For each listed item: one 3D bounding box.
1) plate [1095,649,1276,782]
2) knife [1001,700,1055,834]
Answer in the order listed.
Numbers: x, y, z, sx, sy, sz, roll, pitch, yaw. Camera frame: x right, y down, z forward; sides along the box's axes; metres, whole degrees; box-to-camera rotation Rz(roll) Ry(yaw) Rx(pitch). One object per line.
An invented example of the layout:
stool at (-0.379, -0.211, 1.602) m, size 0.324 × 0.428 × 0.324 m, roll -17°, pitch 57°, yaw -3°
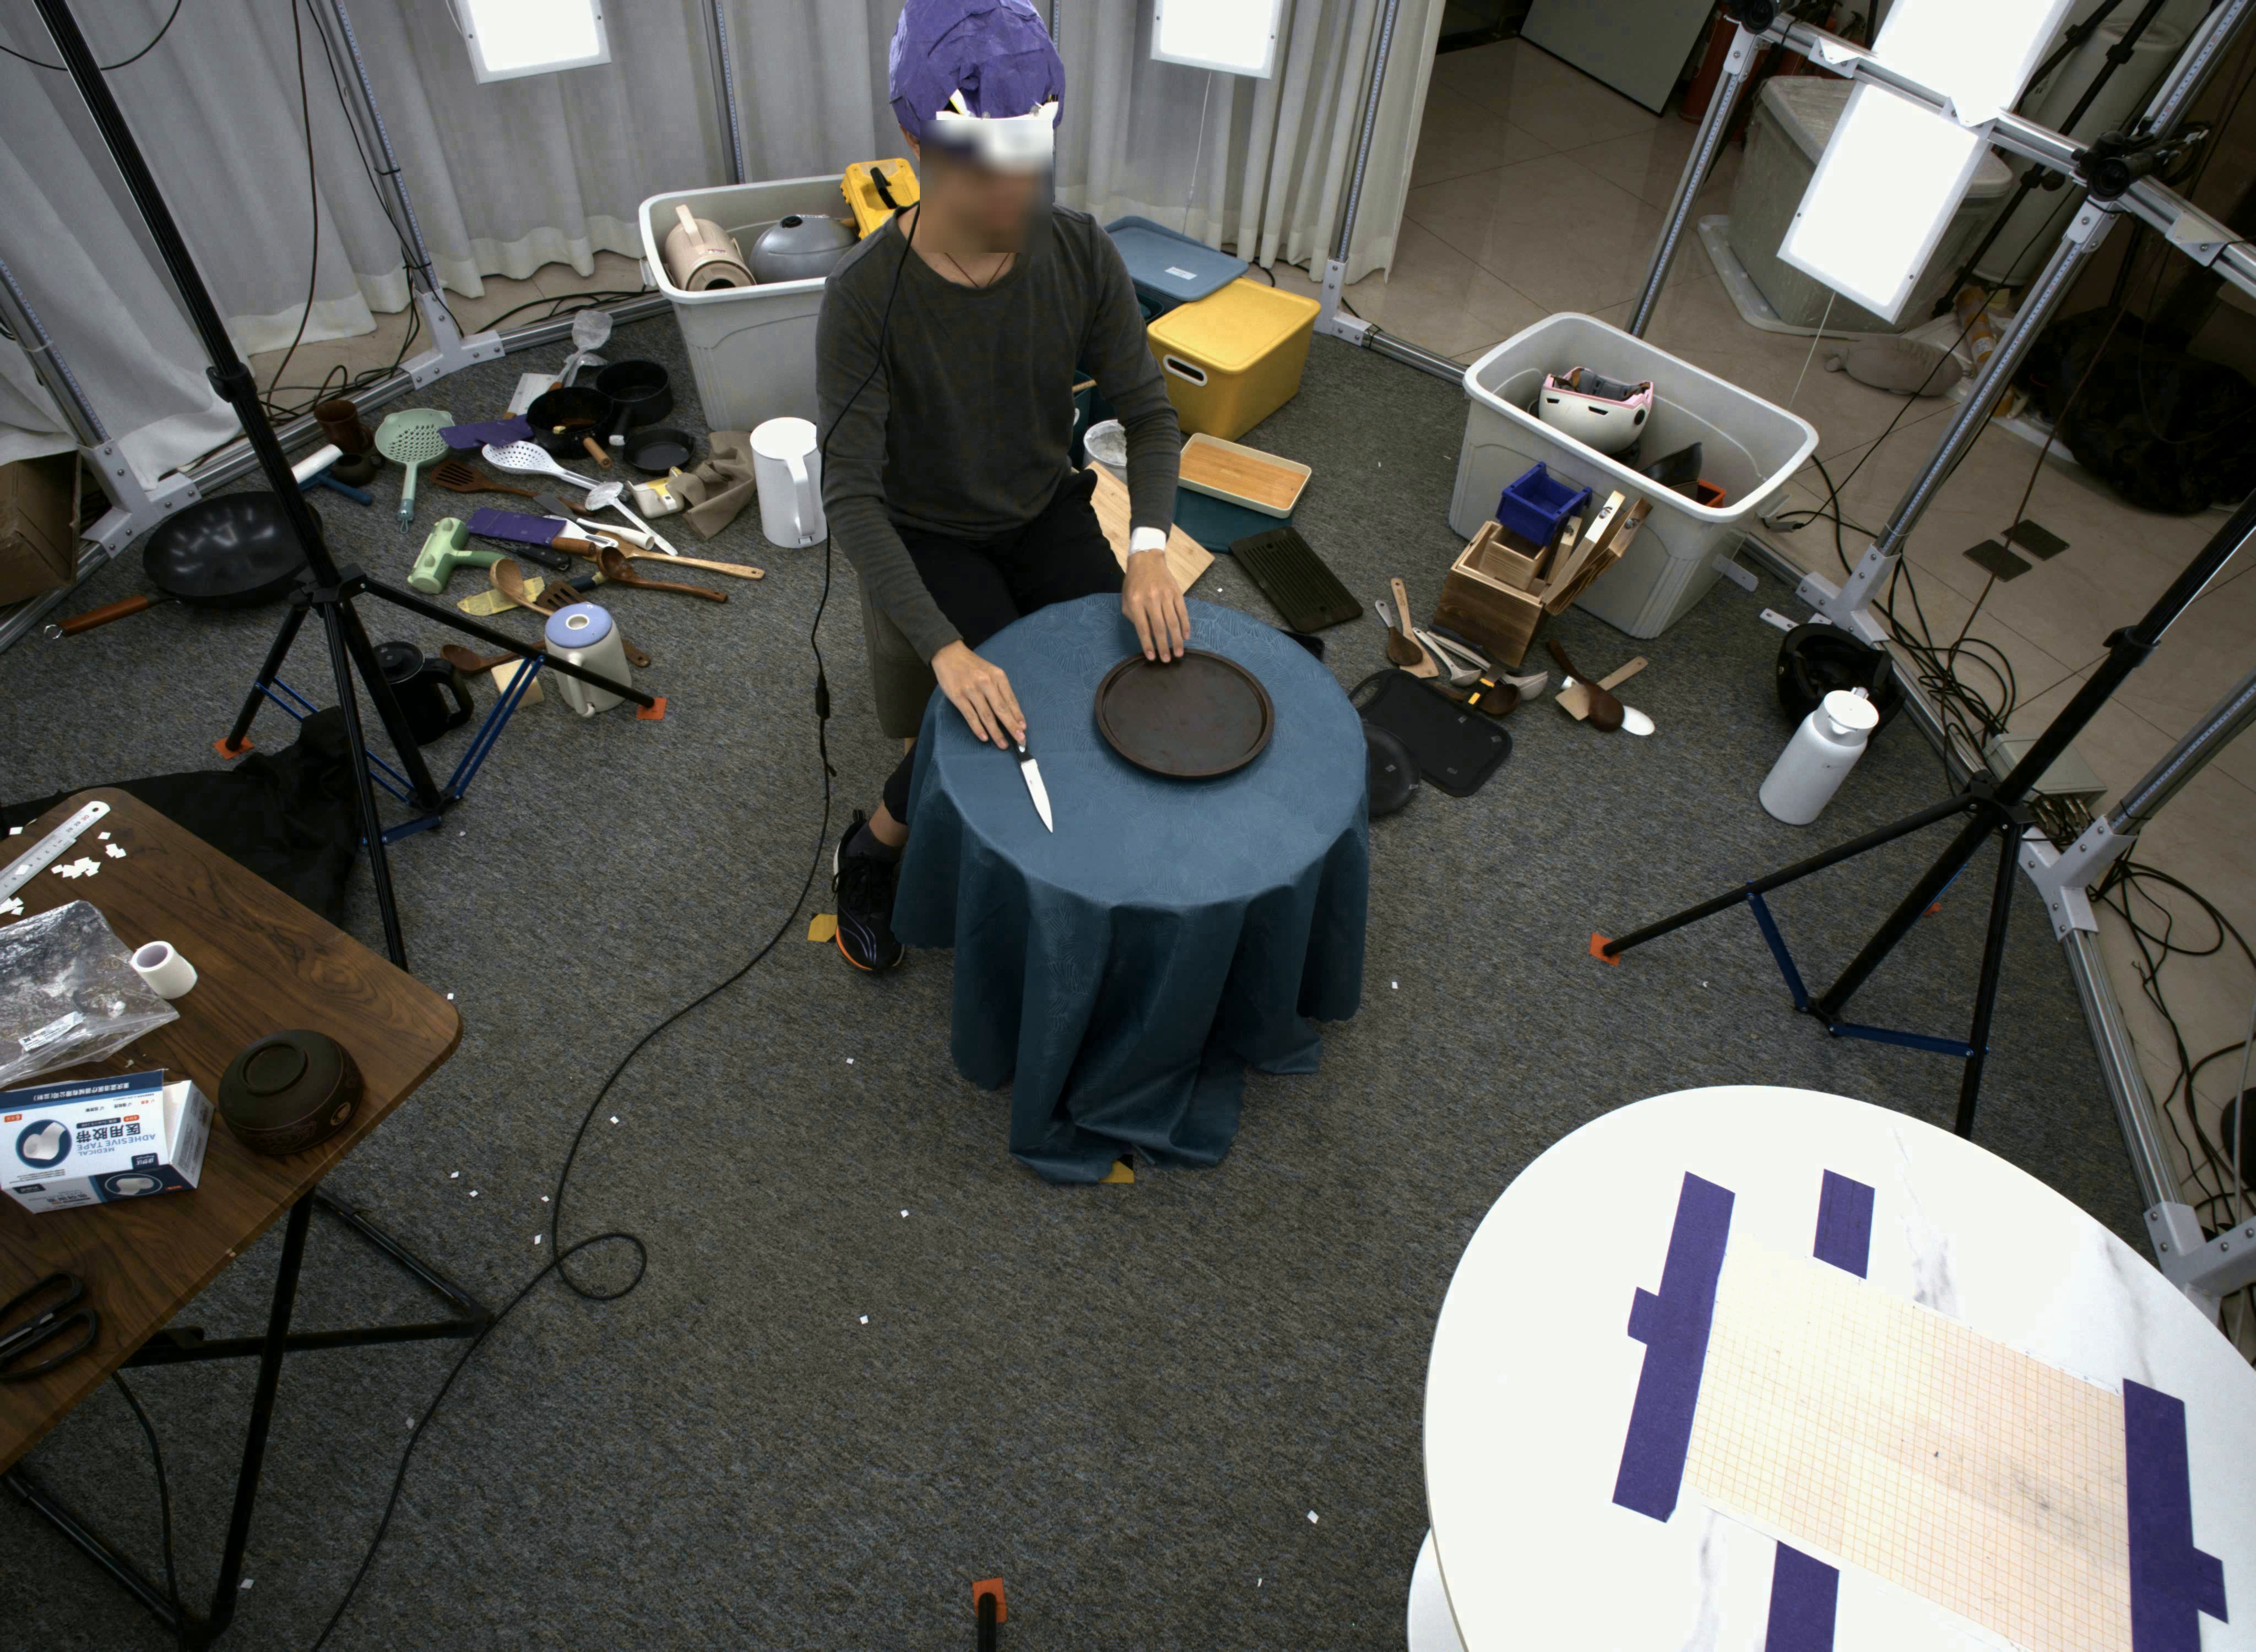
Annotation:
plate at (0.080, -0.157, 1.794) m, size 0.254 × 0.028 × 0.261 m, roll 2°, pitch 50°, yaw -3°
knife at (-0.135, -0.080, 1.720) m, size 0.024 × 0.016 × 0.244 m, roll -9°, pitch 52°, yaw -17°
